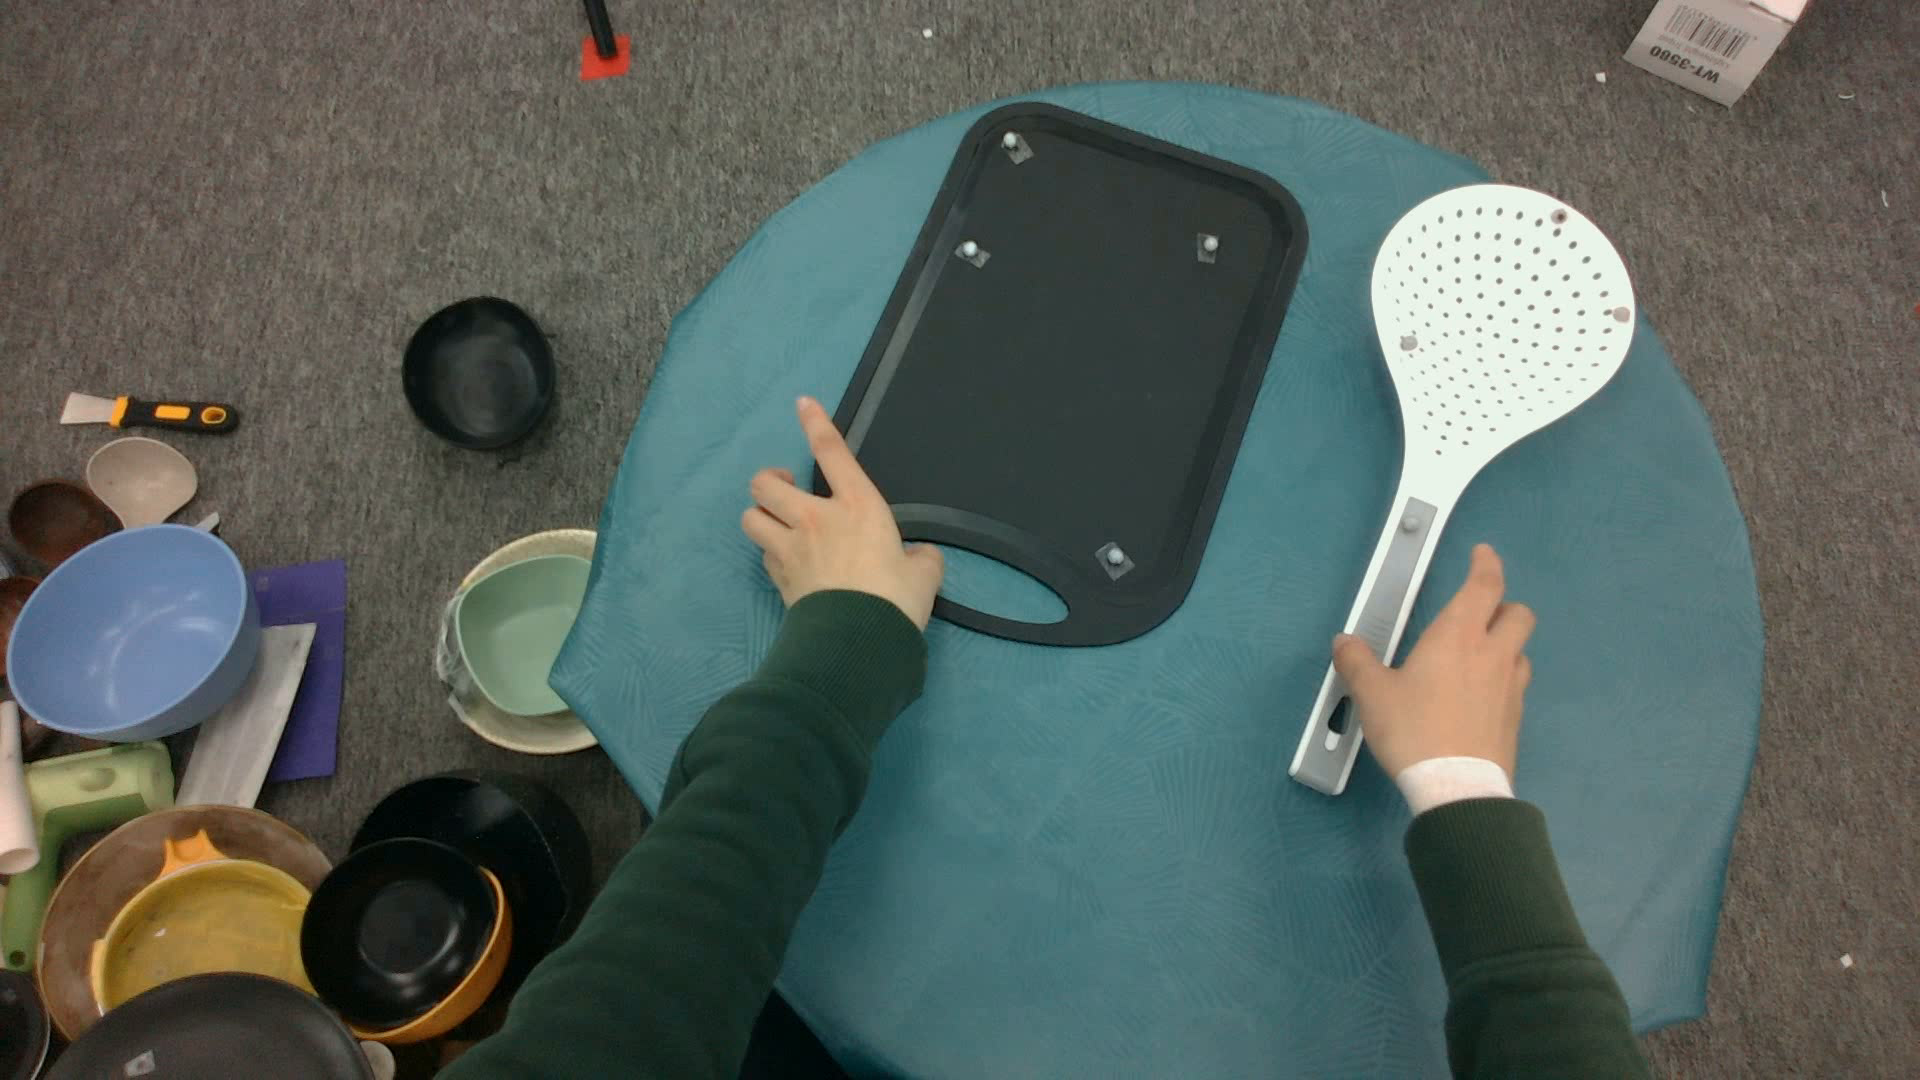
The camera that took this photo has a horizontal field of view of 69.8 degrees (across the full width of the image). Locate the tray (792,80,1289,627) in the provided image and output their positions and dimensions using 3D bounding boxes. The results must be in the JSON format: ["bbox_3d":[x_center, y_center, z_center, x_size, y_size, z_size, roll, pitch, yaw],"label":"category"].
[{"bbox_3d":[0.048,-0.108,0.750,0.211,0.010,0.326,20,69,5],"label":"tray"}]

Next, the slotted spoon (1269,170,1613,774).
[{"bbox_3d":[0.235,-0.042,0.713,0.136,0.045,0.351,23,70,9],"label":"slotted spoon"}]
